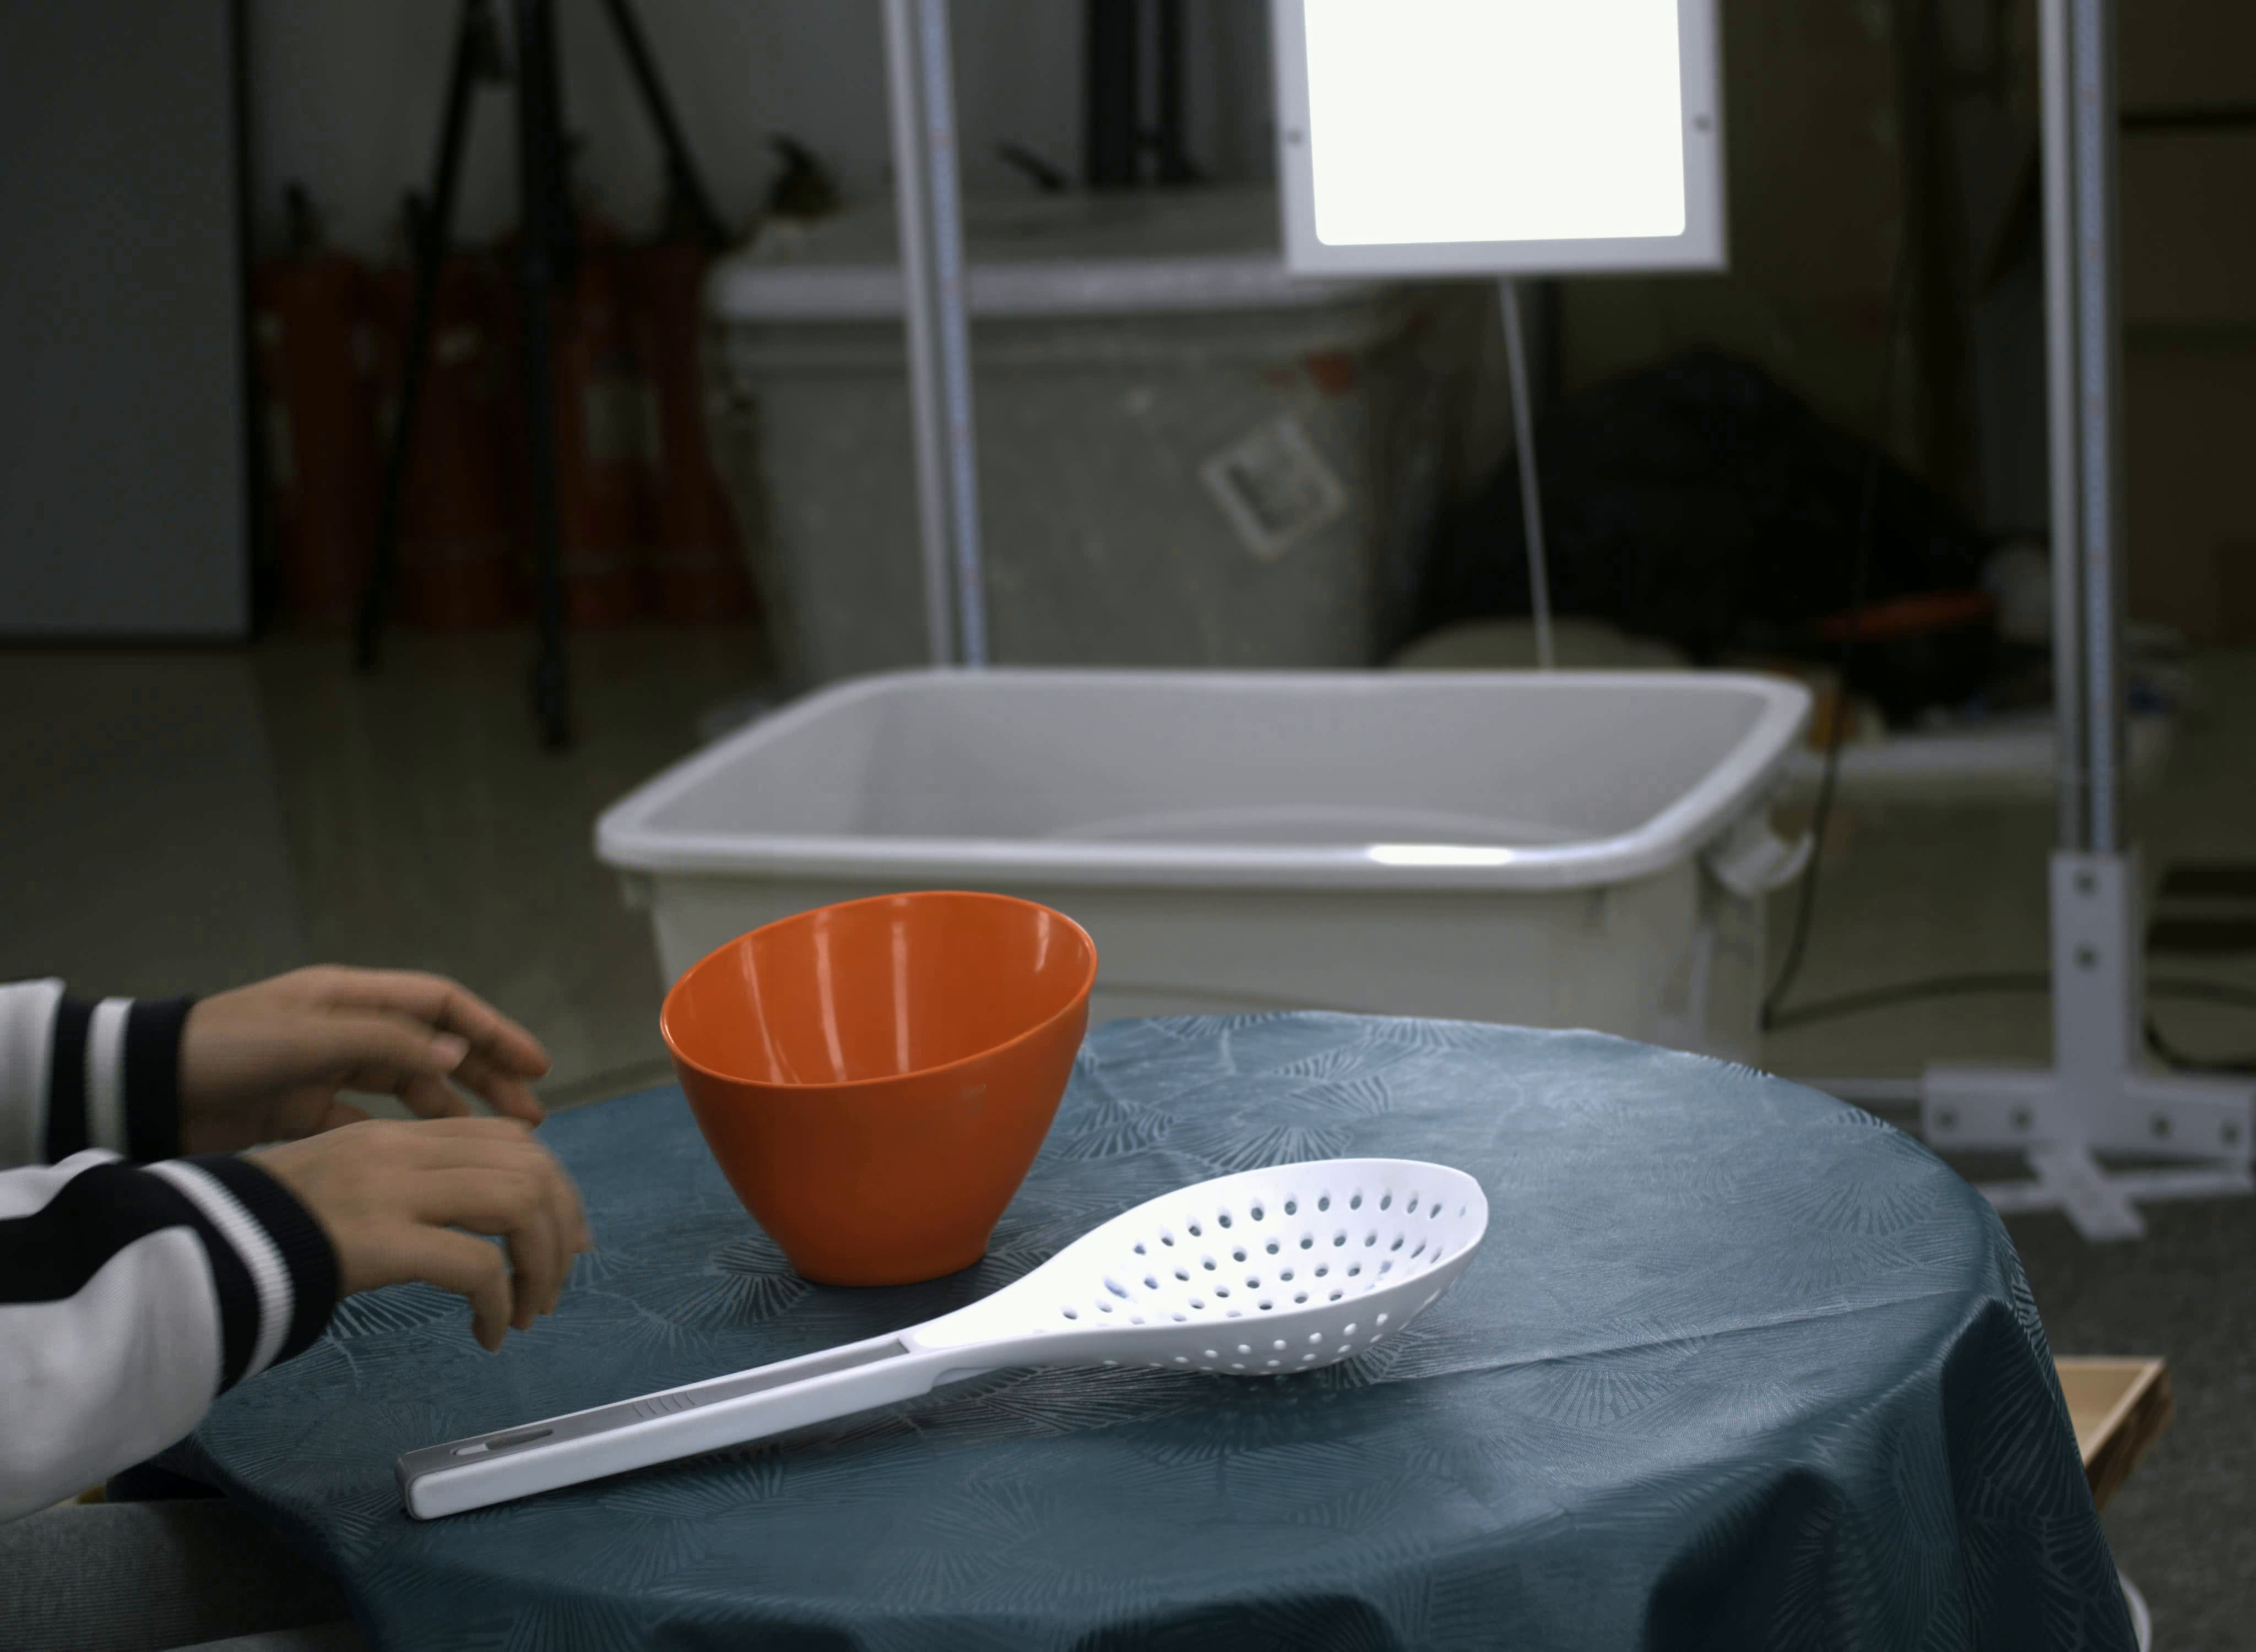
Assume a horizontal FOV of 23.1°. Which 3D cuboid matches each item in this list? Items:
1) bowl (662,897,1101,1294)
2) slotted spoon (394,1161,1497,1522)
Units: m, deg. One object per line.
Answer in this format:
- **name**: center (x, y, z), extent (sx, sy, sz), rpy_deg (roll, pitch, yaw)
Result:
- **bowl**: center (-0.081, 0.094, 1.850), extent (0.147, 0.105, 0.148), rpy_deg (-3, 15, -1)
- **slotted spoon**: center (-0.053, 0.160, 1.687), extent (0.345, 0.046, 0.137), rpy_deg (-9, 14, -13)
